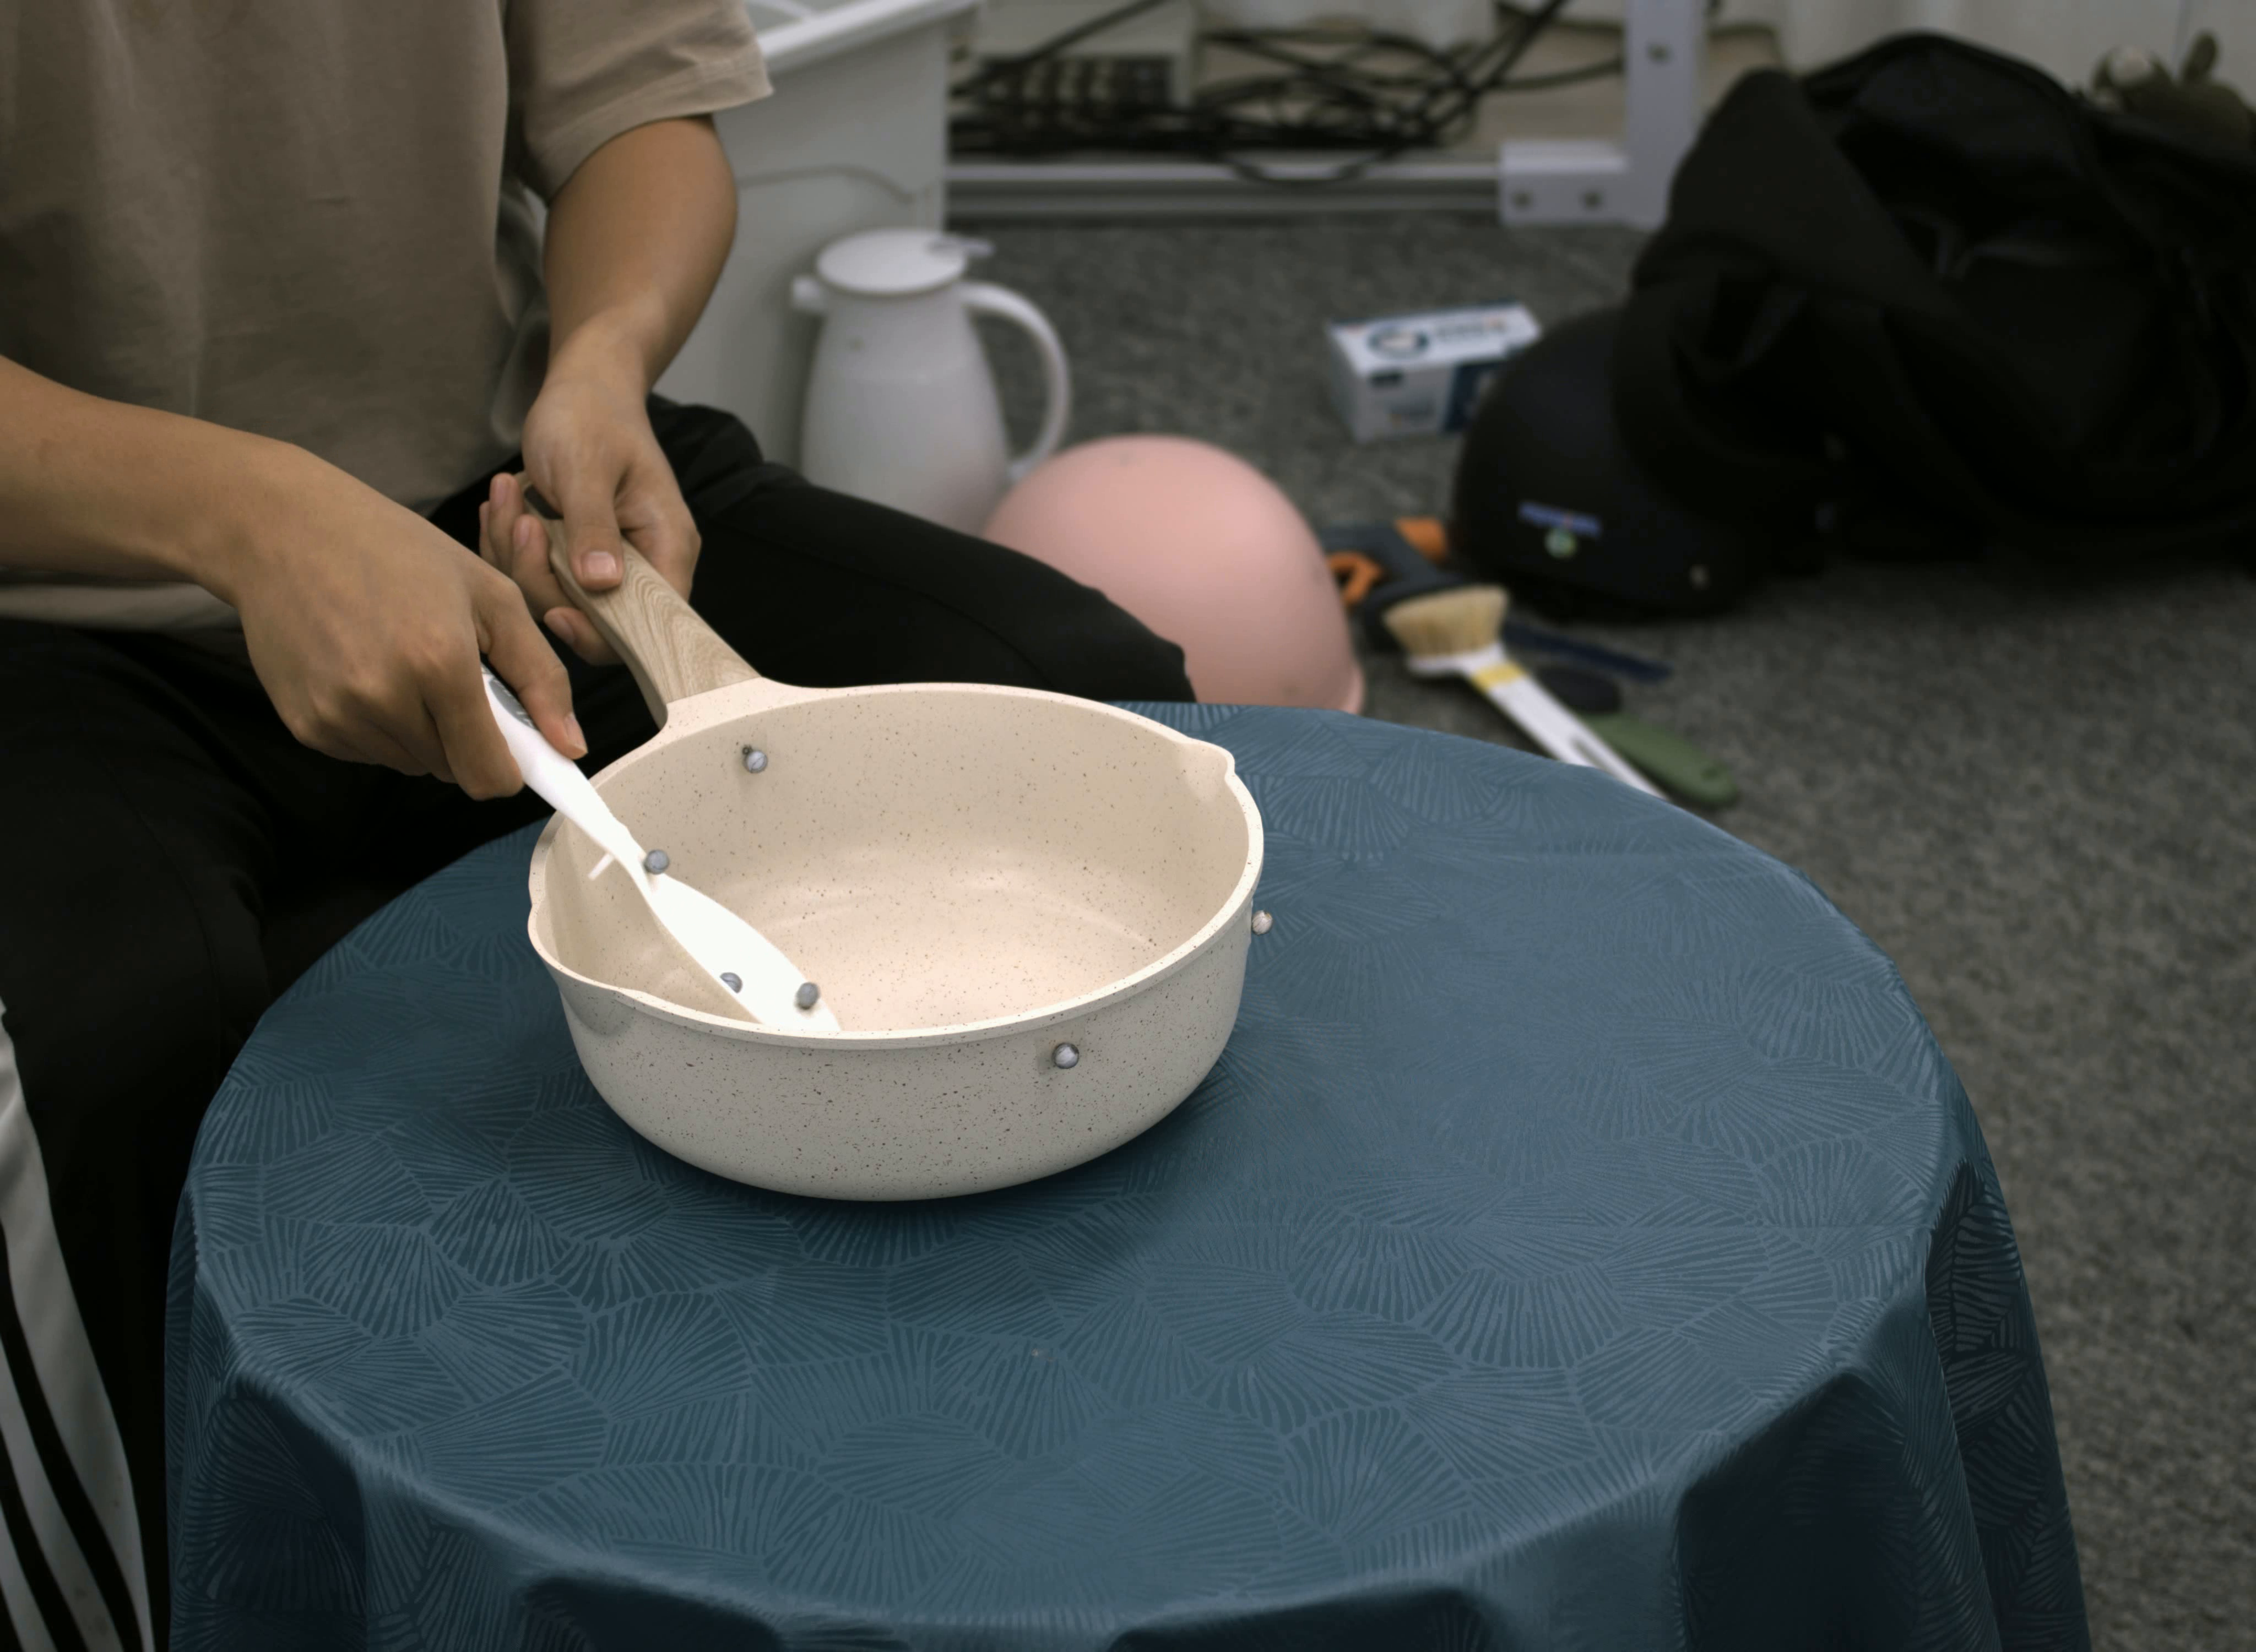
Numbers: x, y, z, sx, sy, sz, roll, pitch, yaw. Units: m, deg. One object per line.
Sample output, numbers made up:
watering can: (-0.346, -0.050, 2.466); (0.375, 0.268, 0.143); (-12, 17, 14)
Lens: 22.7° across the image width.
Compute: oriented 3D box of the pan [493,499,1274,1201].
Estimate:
pan: (-0.118, 0.002, 2.001); (0.265, 0.101, 0.437); (-19, 31, -24)

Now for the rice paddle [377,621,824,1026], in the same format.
rice paddle: (-0.172, 0.011, 1.922); (0.205, 0.029, 0.069); (44, 12, -4)
